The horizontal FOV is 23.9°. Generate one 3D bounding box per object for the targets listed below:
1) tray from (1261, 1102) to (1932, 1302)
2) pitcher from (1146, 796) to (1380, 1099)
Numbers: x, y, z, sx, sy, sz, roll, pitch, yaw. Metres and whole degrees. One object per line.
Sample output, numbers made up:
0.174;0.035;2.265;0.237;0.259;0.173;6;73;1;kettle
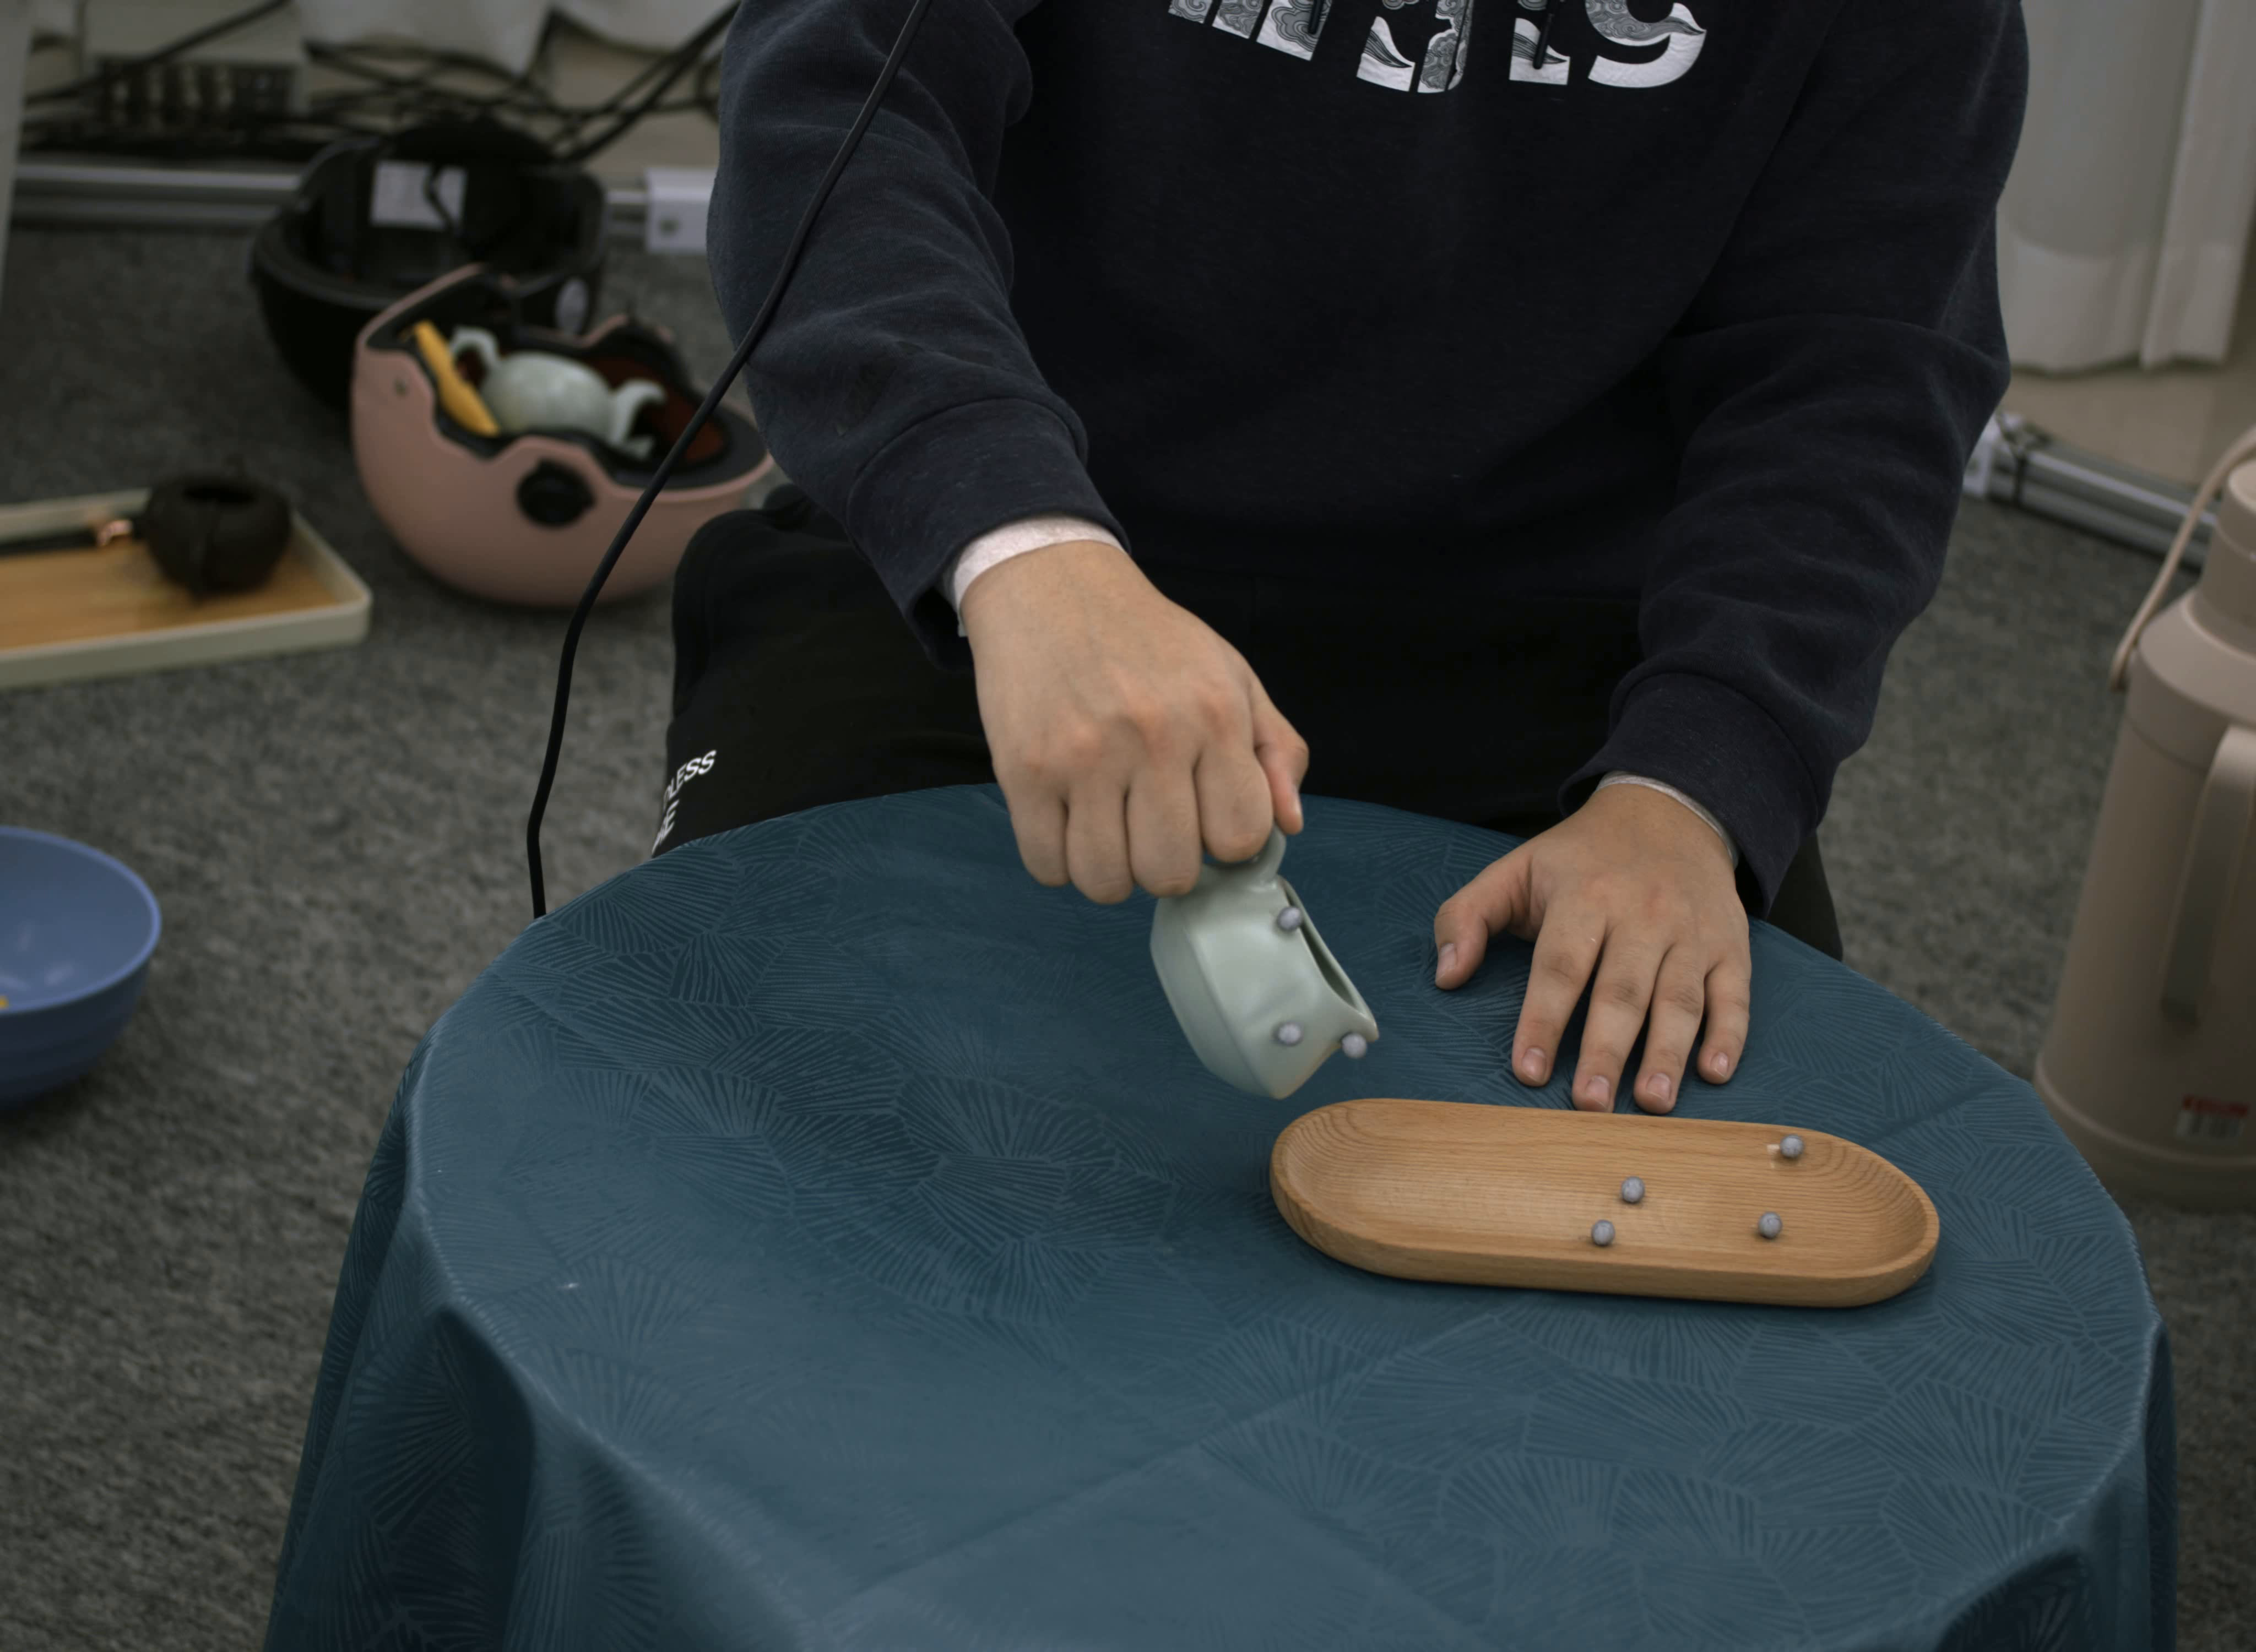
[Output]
0.160;0.129;1.817;0.230;0.020;0.102;2;26;-5;tray
0.037;0.040;1.776;0.060;0.107;0.086;-27;25;8;pitcher
